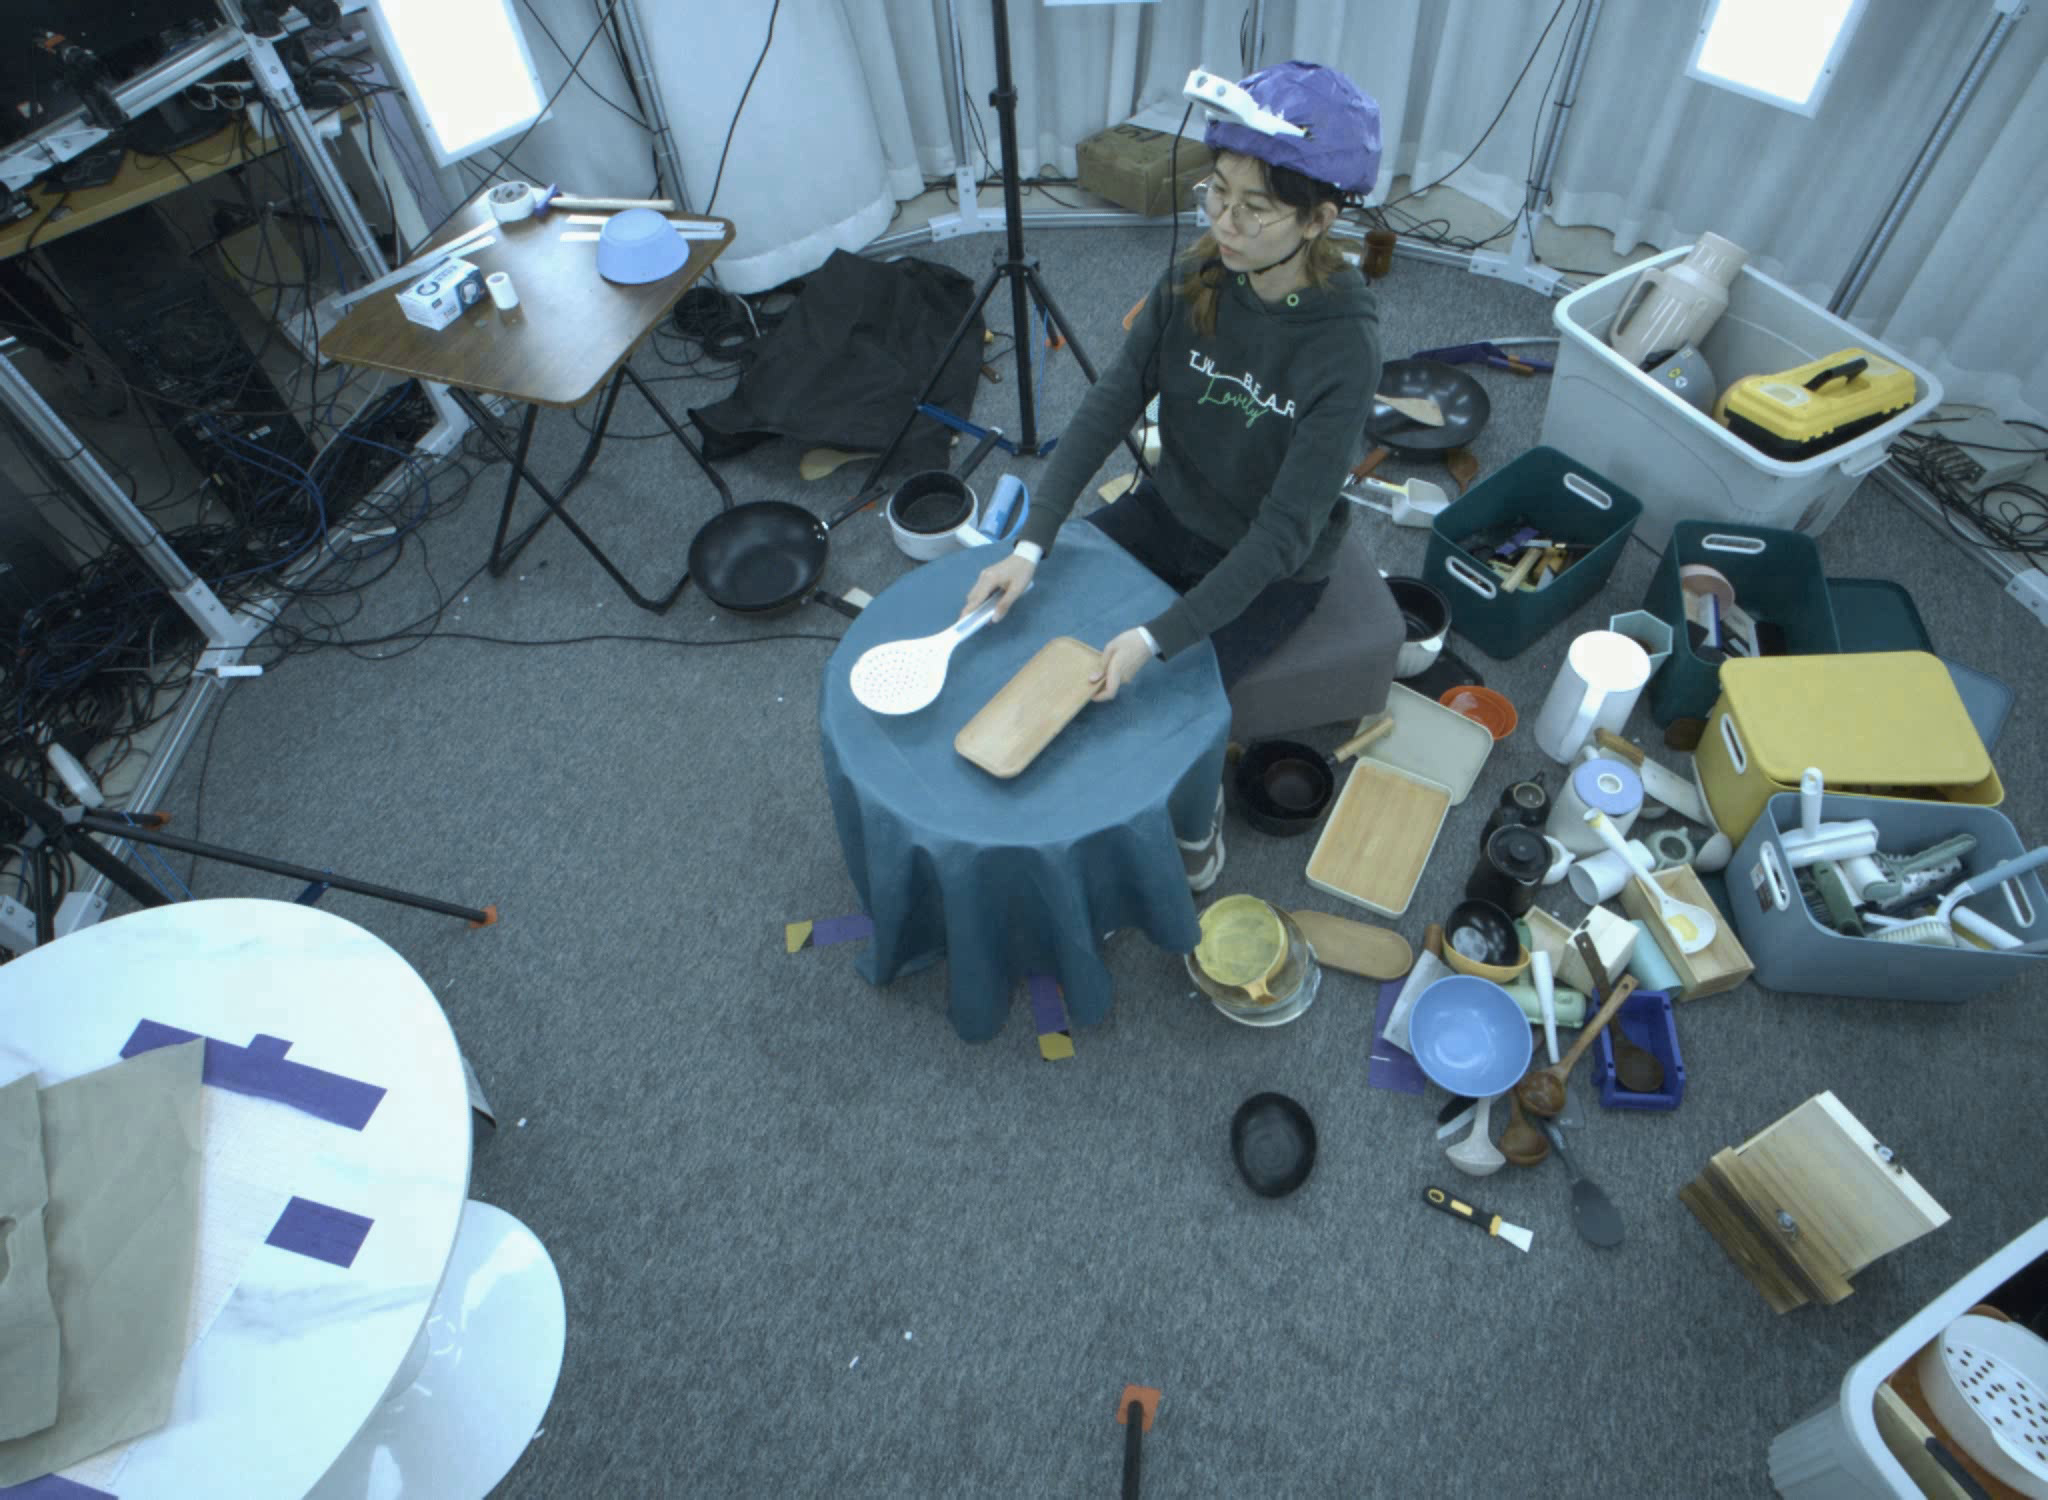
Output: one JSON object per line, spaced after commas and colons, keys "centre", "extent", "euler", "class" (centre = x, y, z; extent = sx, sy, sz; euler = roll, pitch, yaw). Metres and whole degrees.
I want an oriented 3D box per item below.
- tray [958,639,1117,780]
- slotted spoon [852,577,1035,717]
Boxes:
{"centre": [0.020, -0.061, 1.792], "extent": [0.128, 0.023, 0.252], "euler": [32, 67, 32], "class": "tray"}
{"centre": [-0.111, -0.164, 1.859], "extent": [0.134, 0.046, 0.352], "euler": [38, 66, 20], "class": "slotted spoon"}
